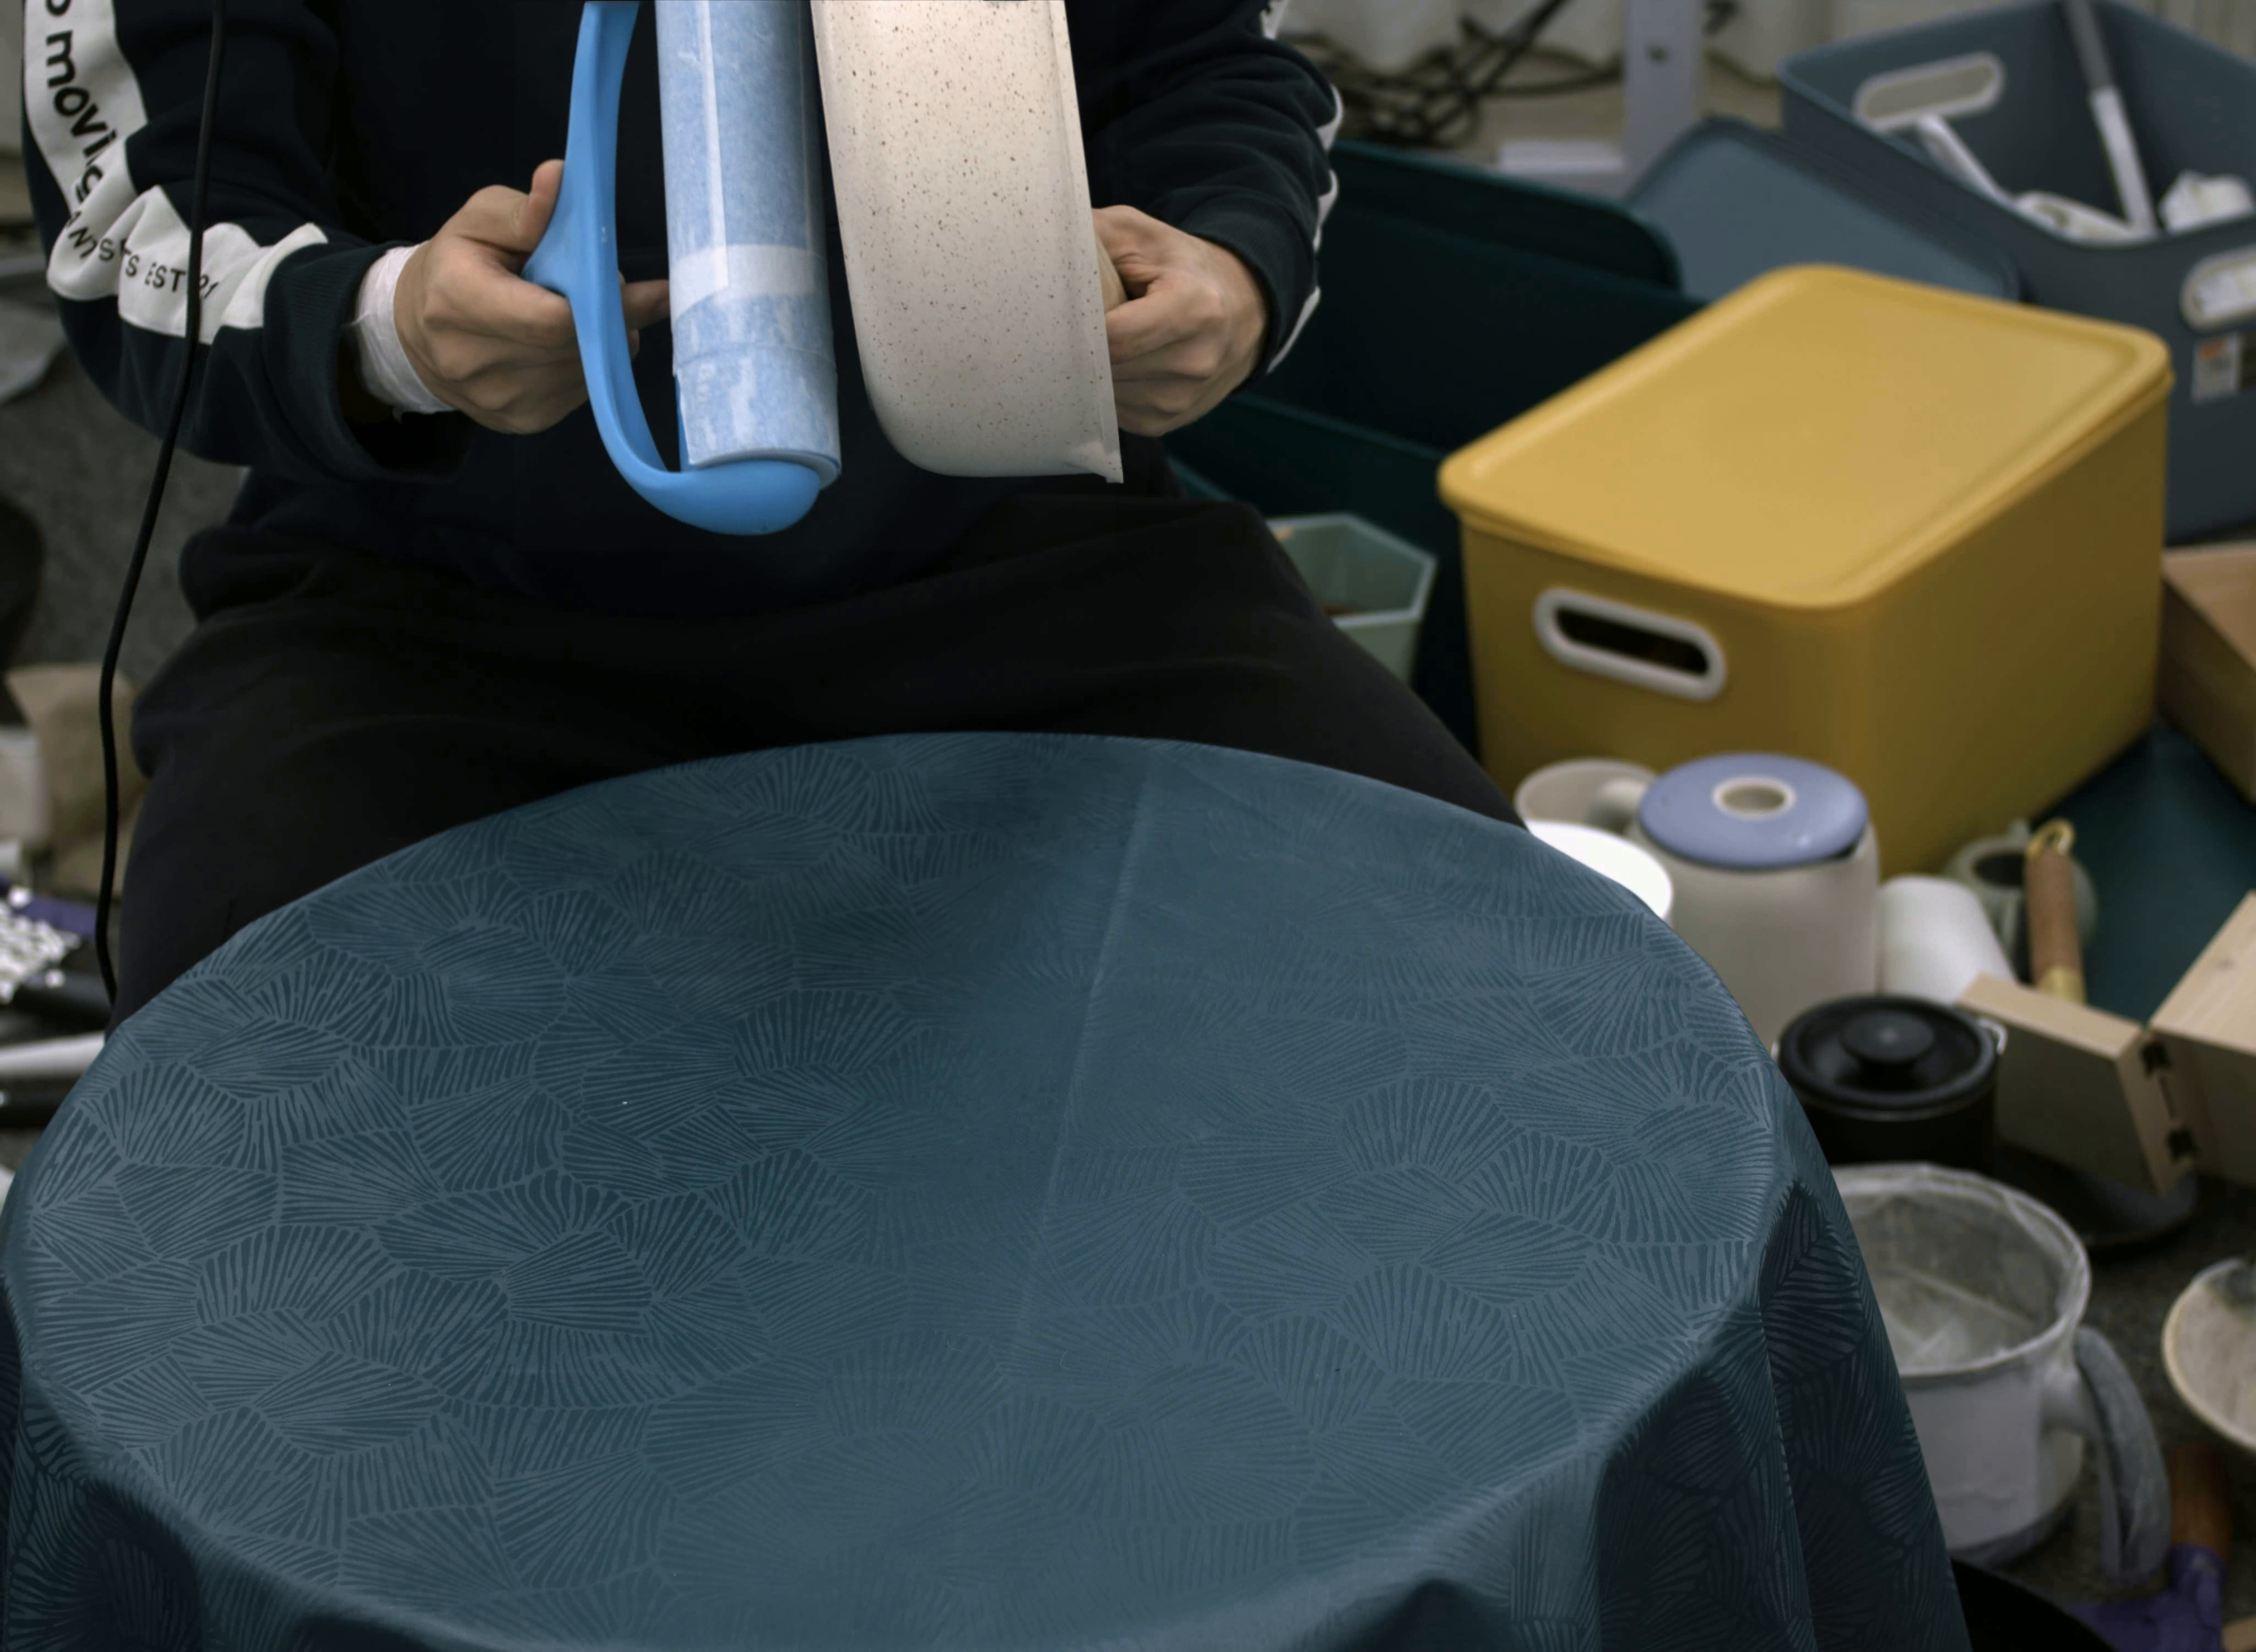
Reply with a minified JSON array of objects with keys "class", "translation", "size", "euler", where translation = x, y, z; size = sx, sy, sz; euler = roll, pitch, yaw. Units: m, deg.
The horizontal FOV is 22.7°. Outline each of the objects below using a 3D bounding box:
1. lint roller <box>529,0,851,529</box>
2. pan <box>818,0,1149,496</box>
[{"class":"lint roller","translation":[-0.166,-0.192,1.930],"size":[0.068,0.232,0.177],"euler":[10,-25,-42]},{"class":"pan","translation":[-0.046,-0.213,1.997],"size":[0.101,0.266,0.431],"euler":[-9,-13,-1]}]
